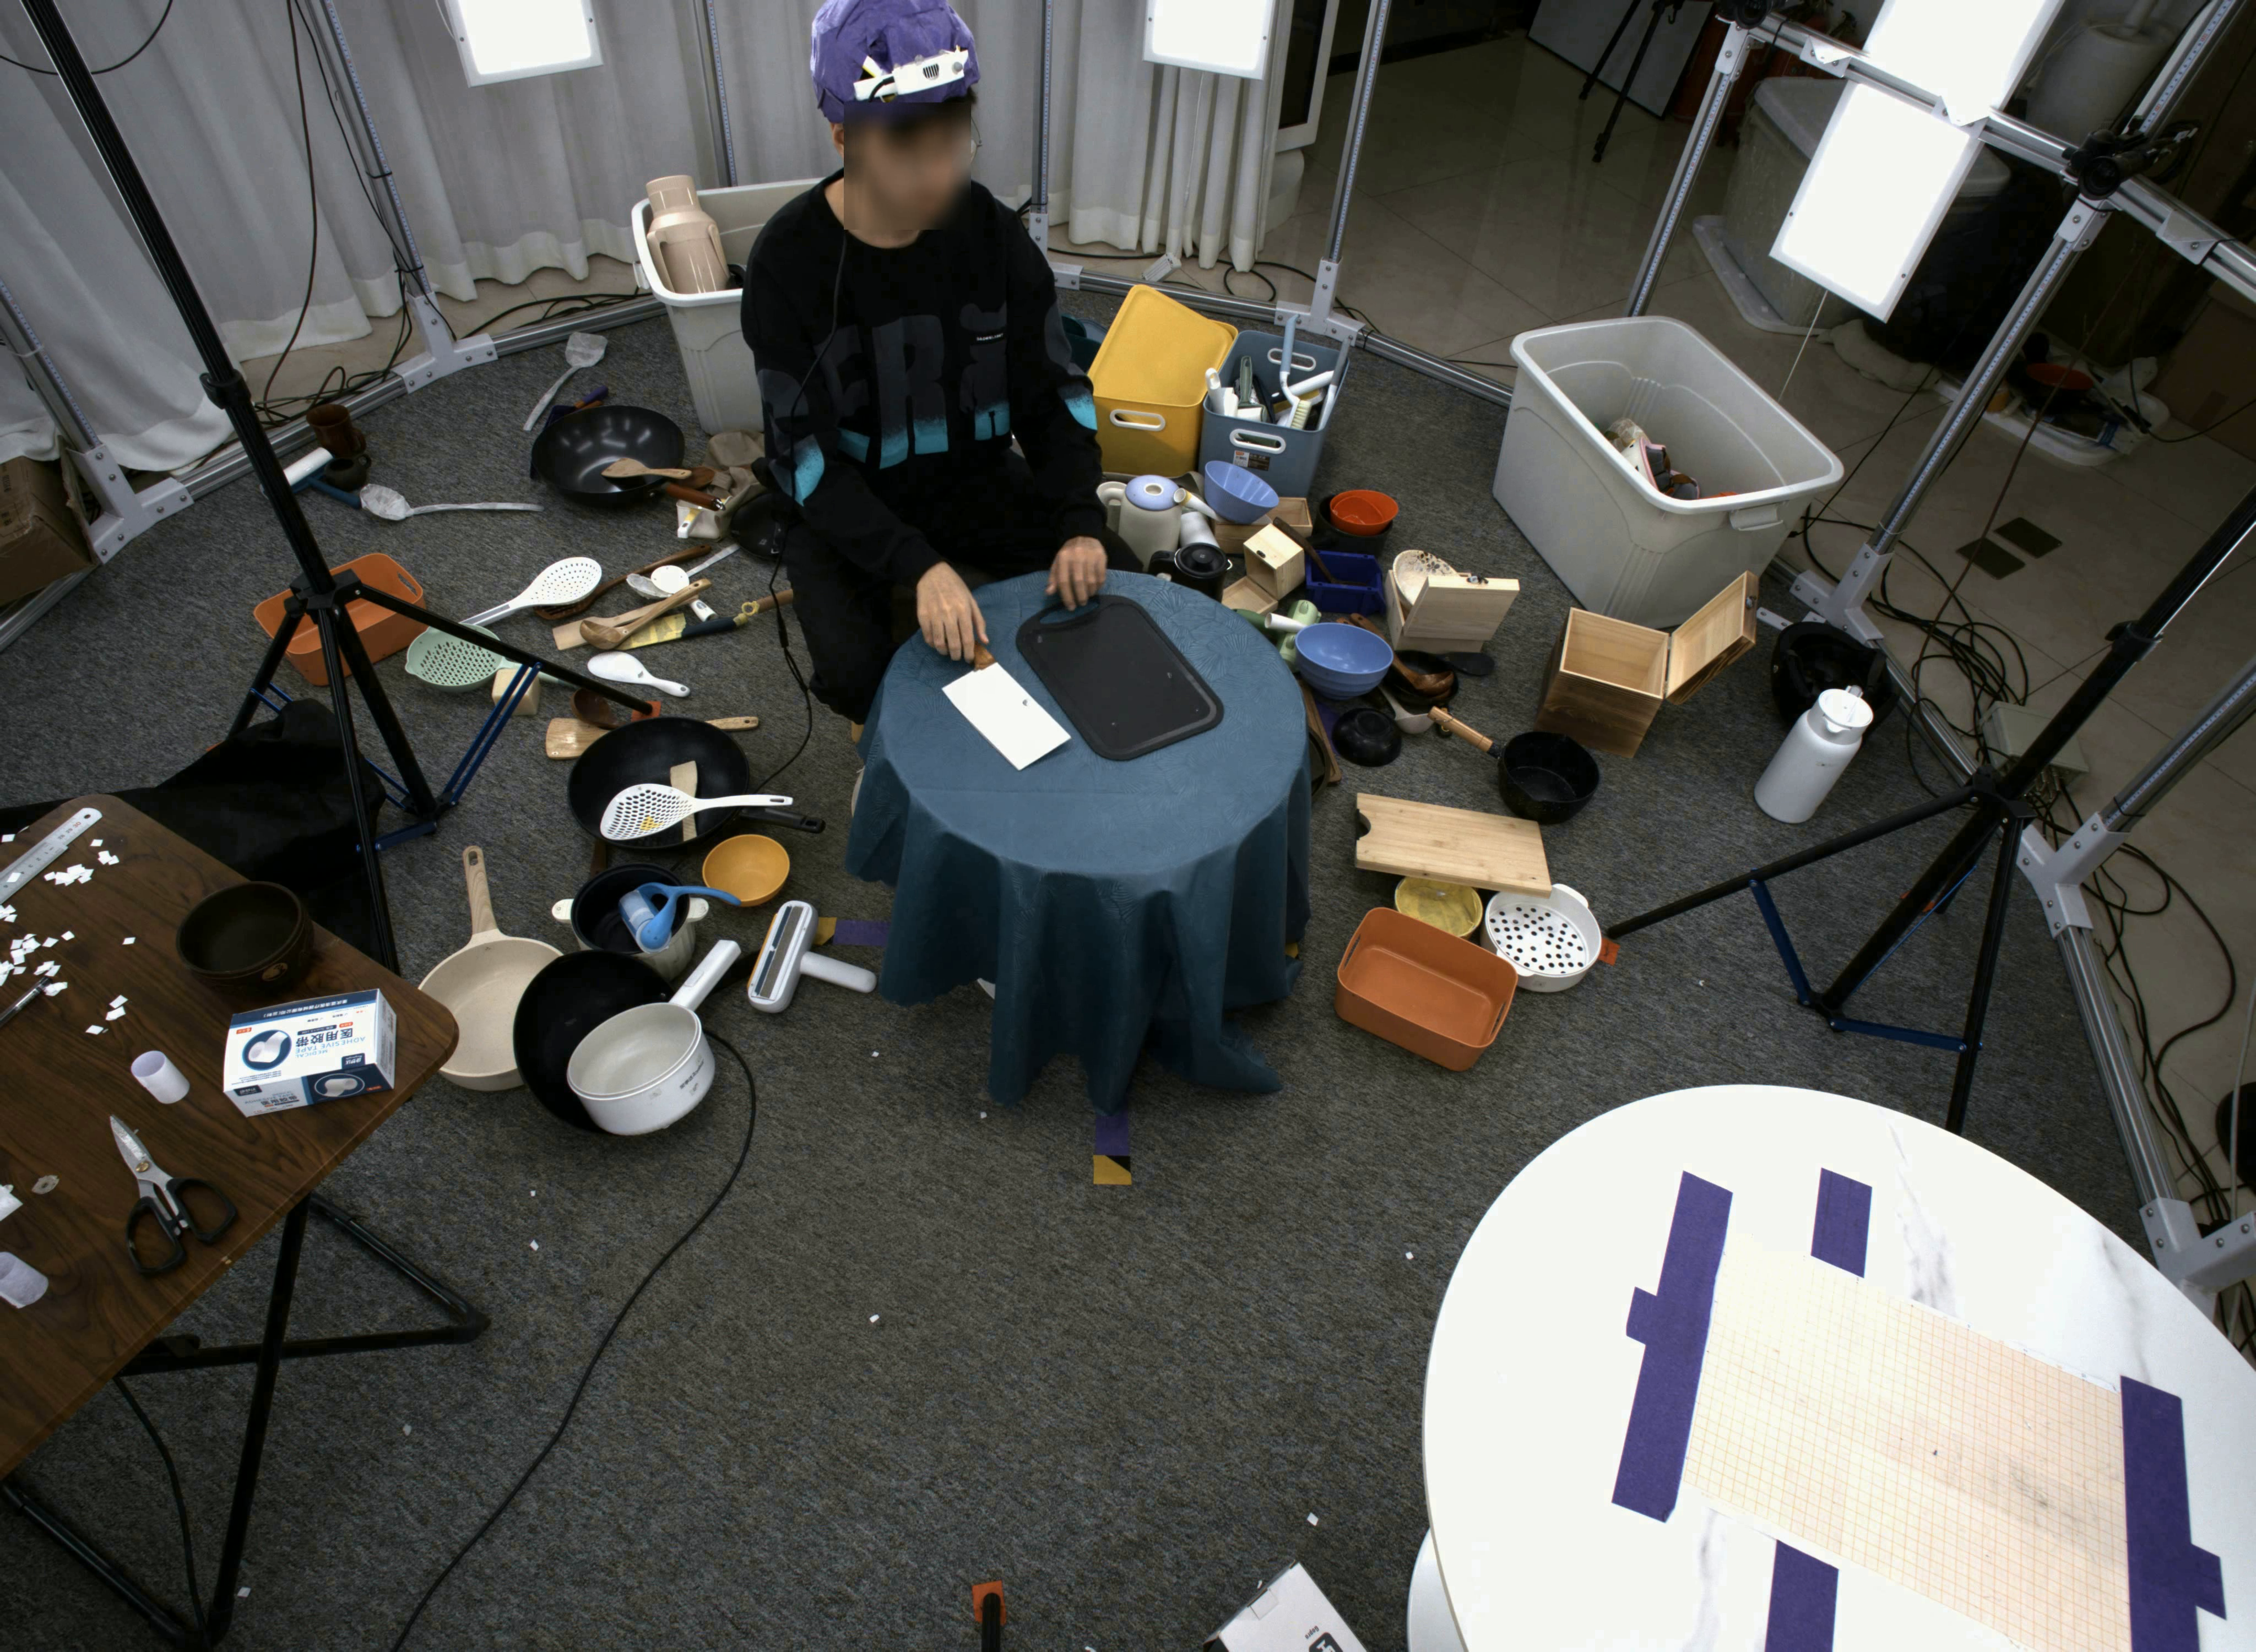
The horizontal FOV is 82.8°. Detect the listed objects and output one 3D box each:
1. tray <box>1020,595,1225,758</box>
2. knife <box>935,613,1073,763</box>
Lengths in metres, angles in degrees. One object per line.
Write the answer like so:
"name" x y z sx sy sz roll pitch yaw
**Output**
"tray" -0.016 -0.228 1.860 0.211 0.009 0.332 -21 54 -20
"knife" -0.199 -0.195 1.813 0.093 0.020 0.311 -31 58 -21
